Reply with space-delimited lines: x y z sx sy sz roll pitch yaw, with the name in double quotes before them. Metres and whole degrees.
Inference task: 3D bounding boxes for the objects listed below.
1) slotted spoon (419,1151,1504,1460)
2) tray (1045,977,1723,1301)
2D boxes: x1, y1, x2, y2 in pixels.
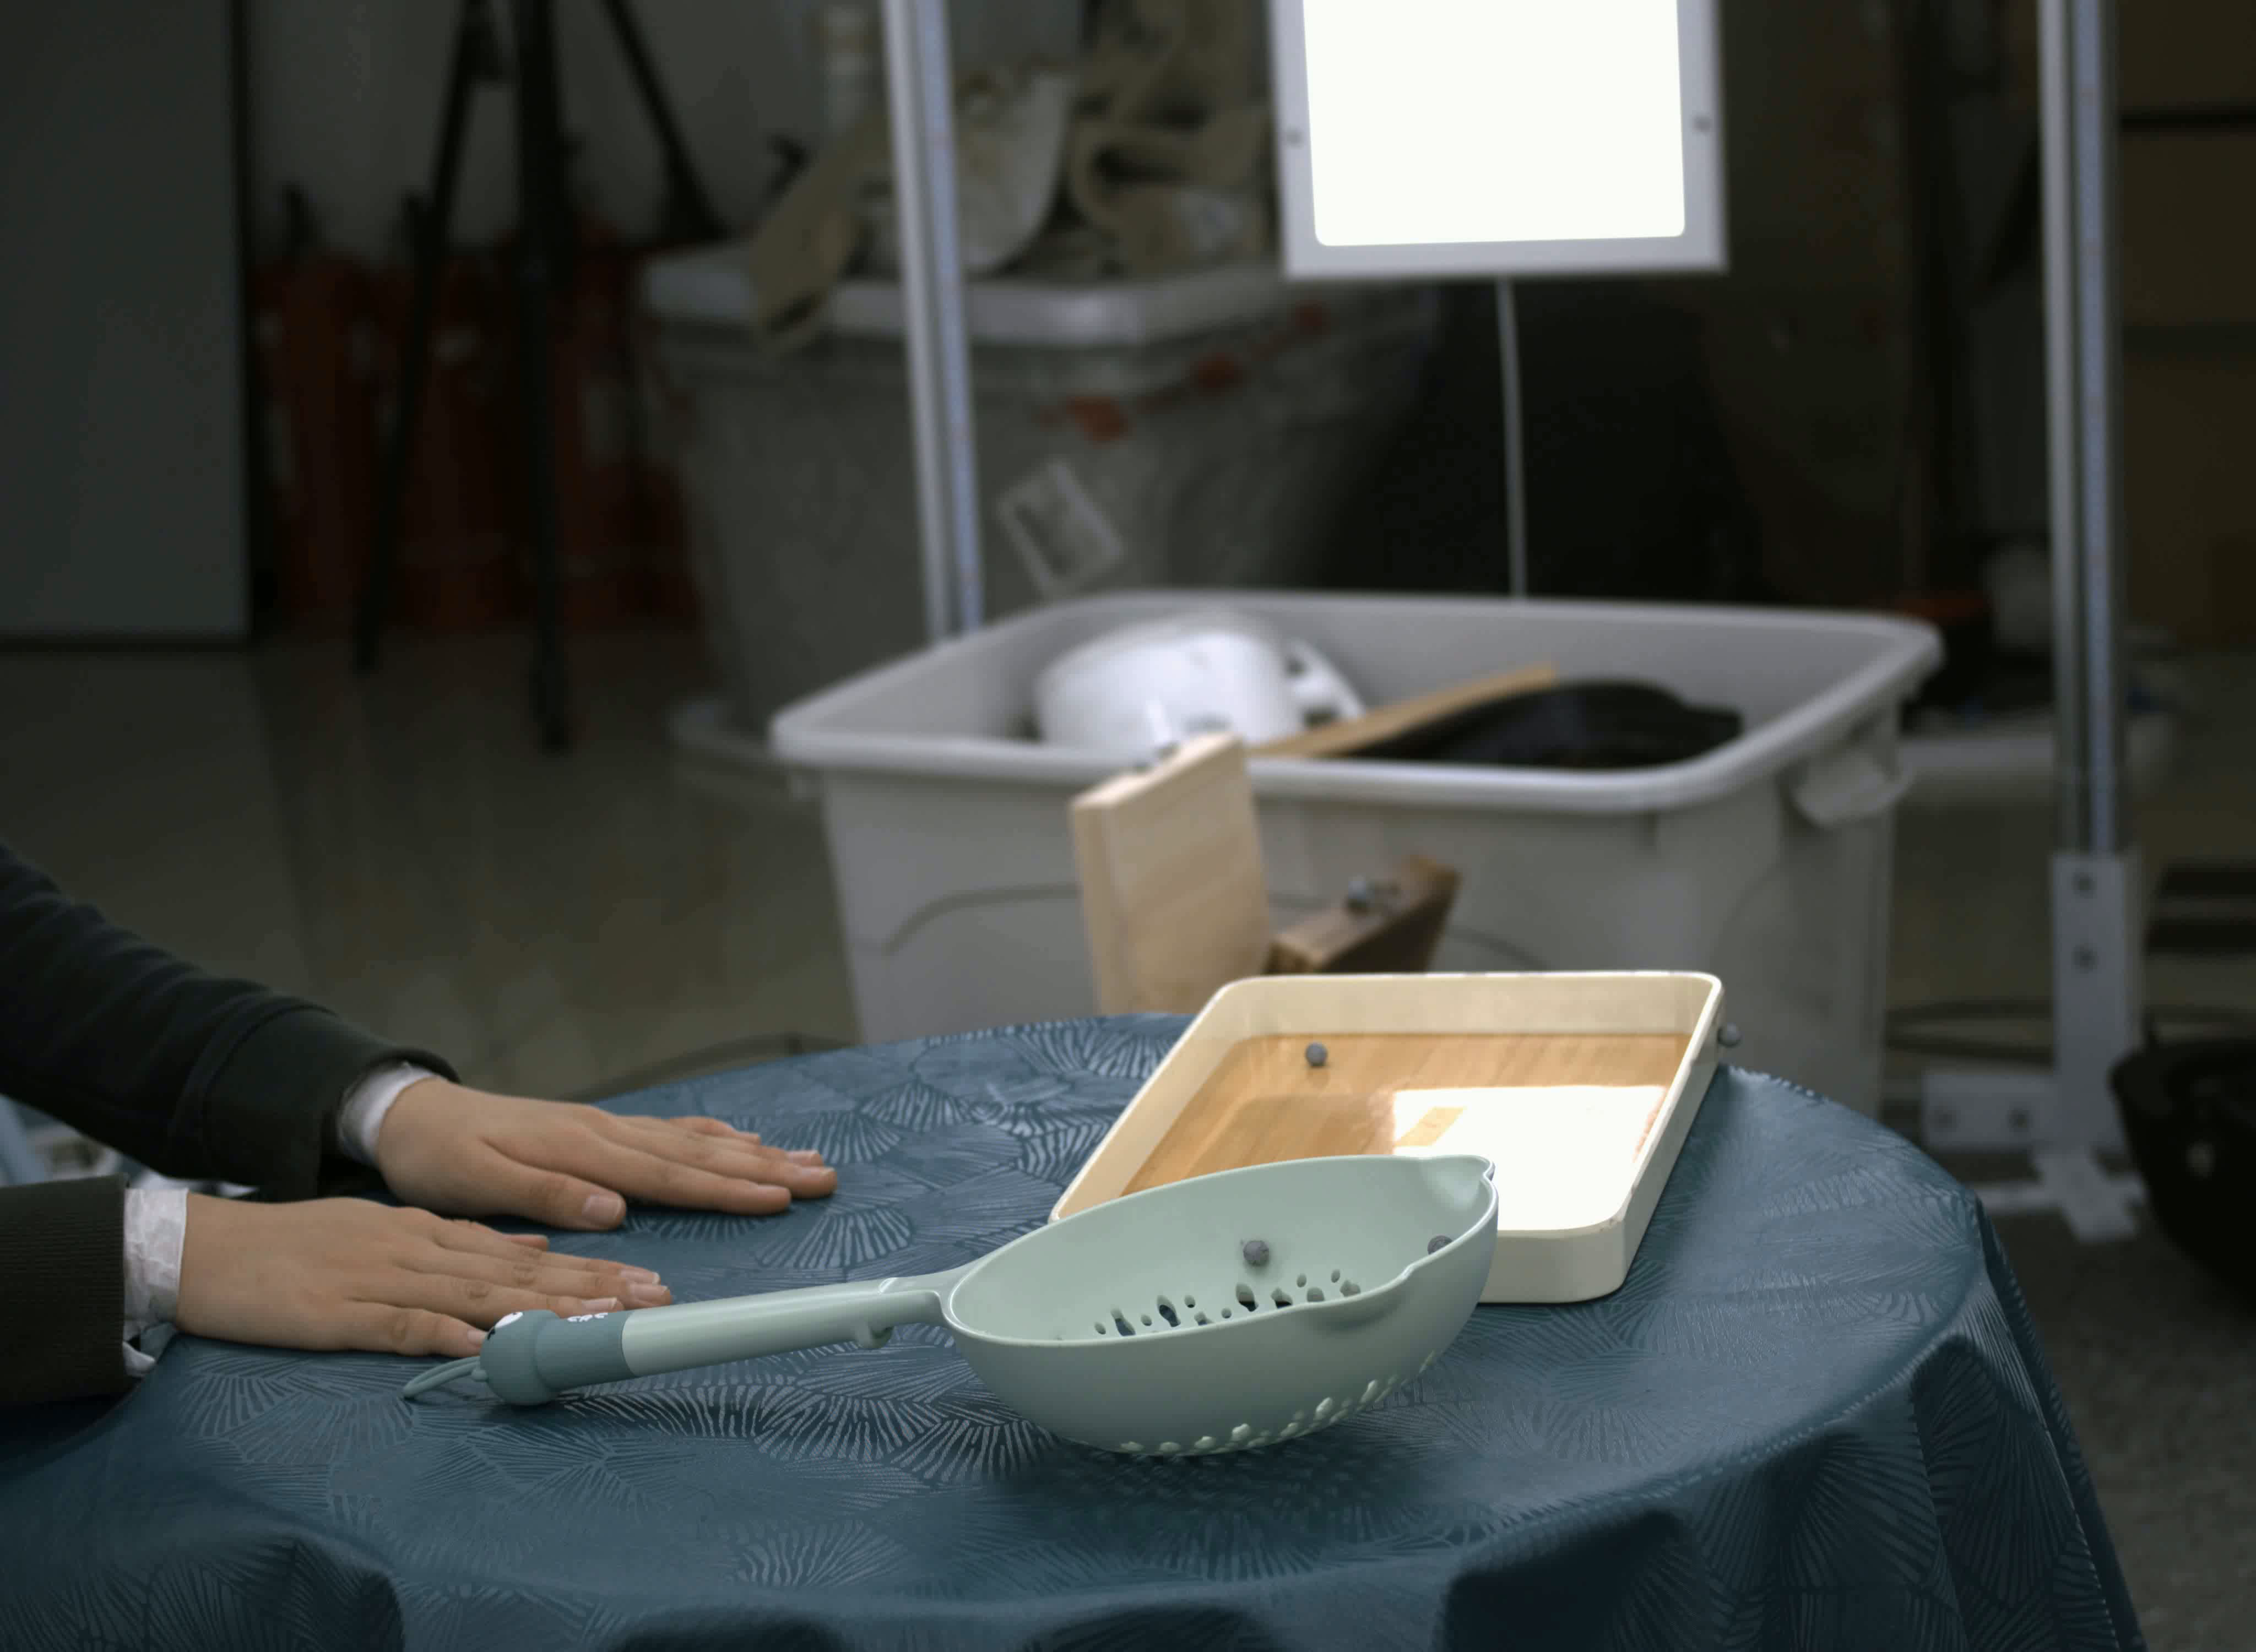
"slotted spoon" -0.059 0.150 1.687 0.364 0.075 0.166 0 14 21
"tray" 0.096 0.105 1.898 0.193 0.027 0.296 -1 14 15
